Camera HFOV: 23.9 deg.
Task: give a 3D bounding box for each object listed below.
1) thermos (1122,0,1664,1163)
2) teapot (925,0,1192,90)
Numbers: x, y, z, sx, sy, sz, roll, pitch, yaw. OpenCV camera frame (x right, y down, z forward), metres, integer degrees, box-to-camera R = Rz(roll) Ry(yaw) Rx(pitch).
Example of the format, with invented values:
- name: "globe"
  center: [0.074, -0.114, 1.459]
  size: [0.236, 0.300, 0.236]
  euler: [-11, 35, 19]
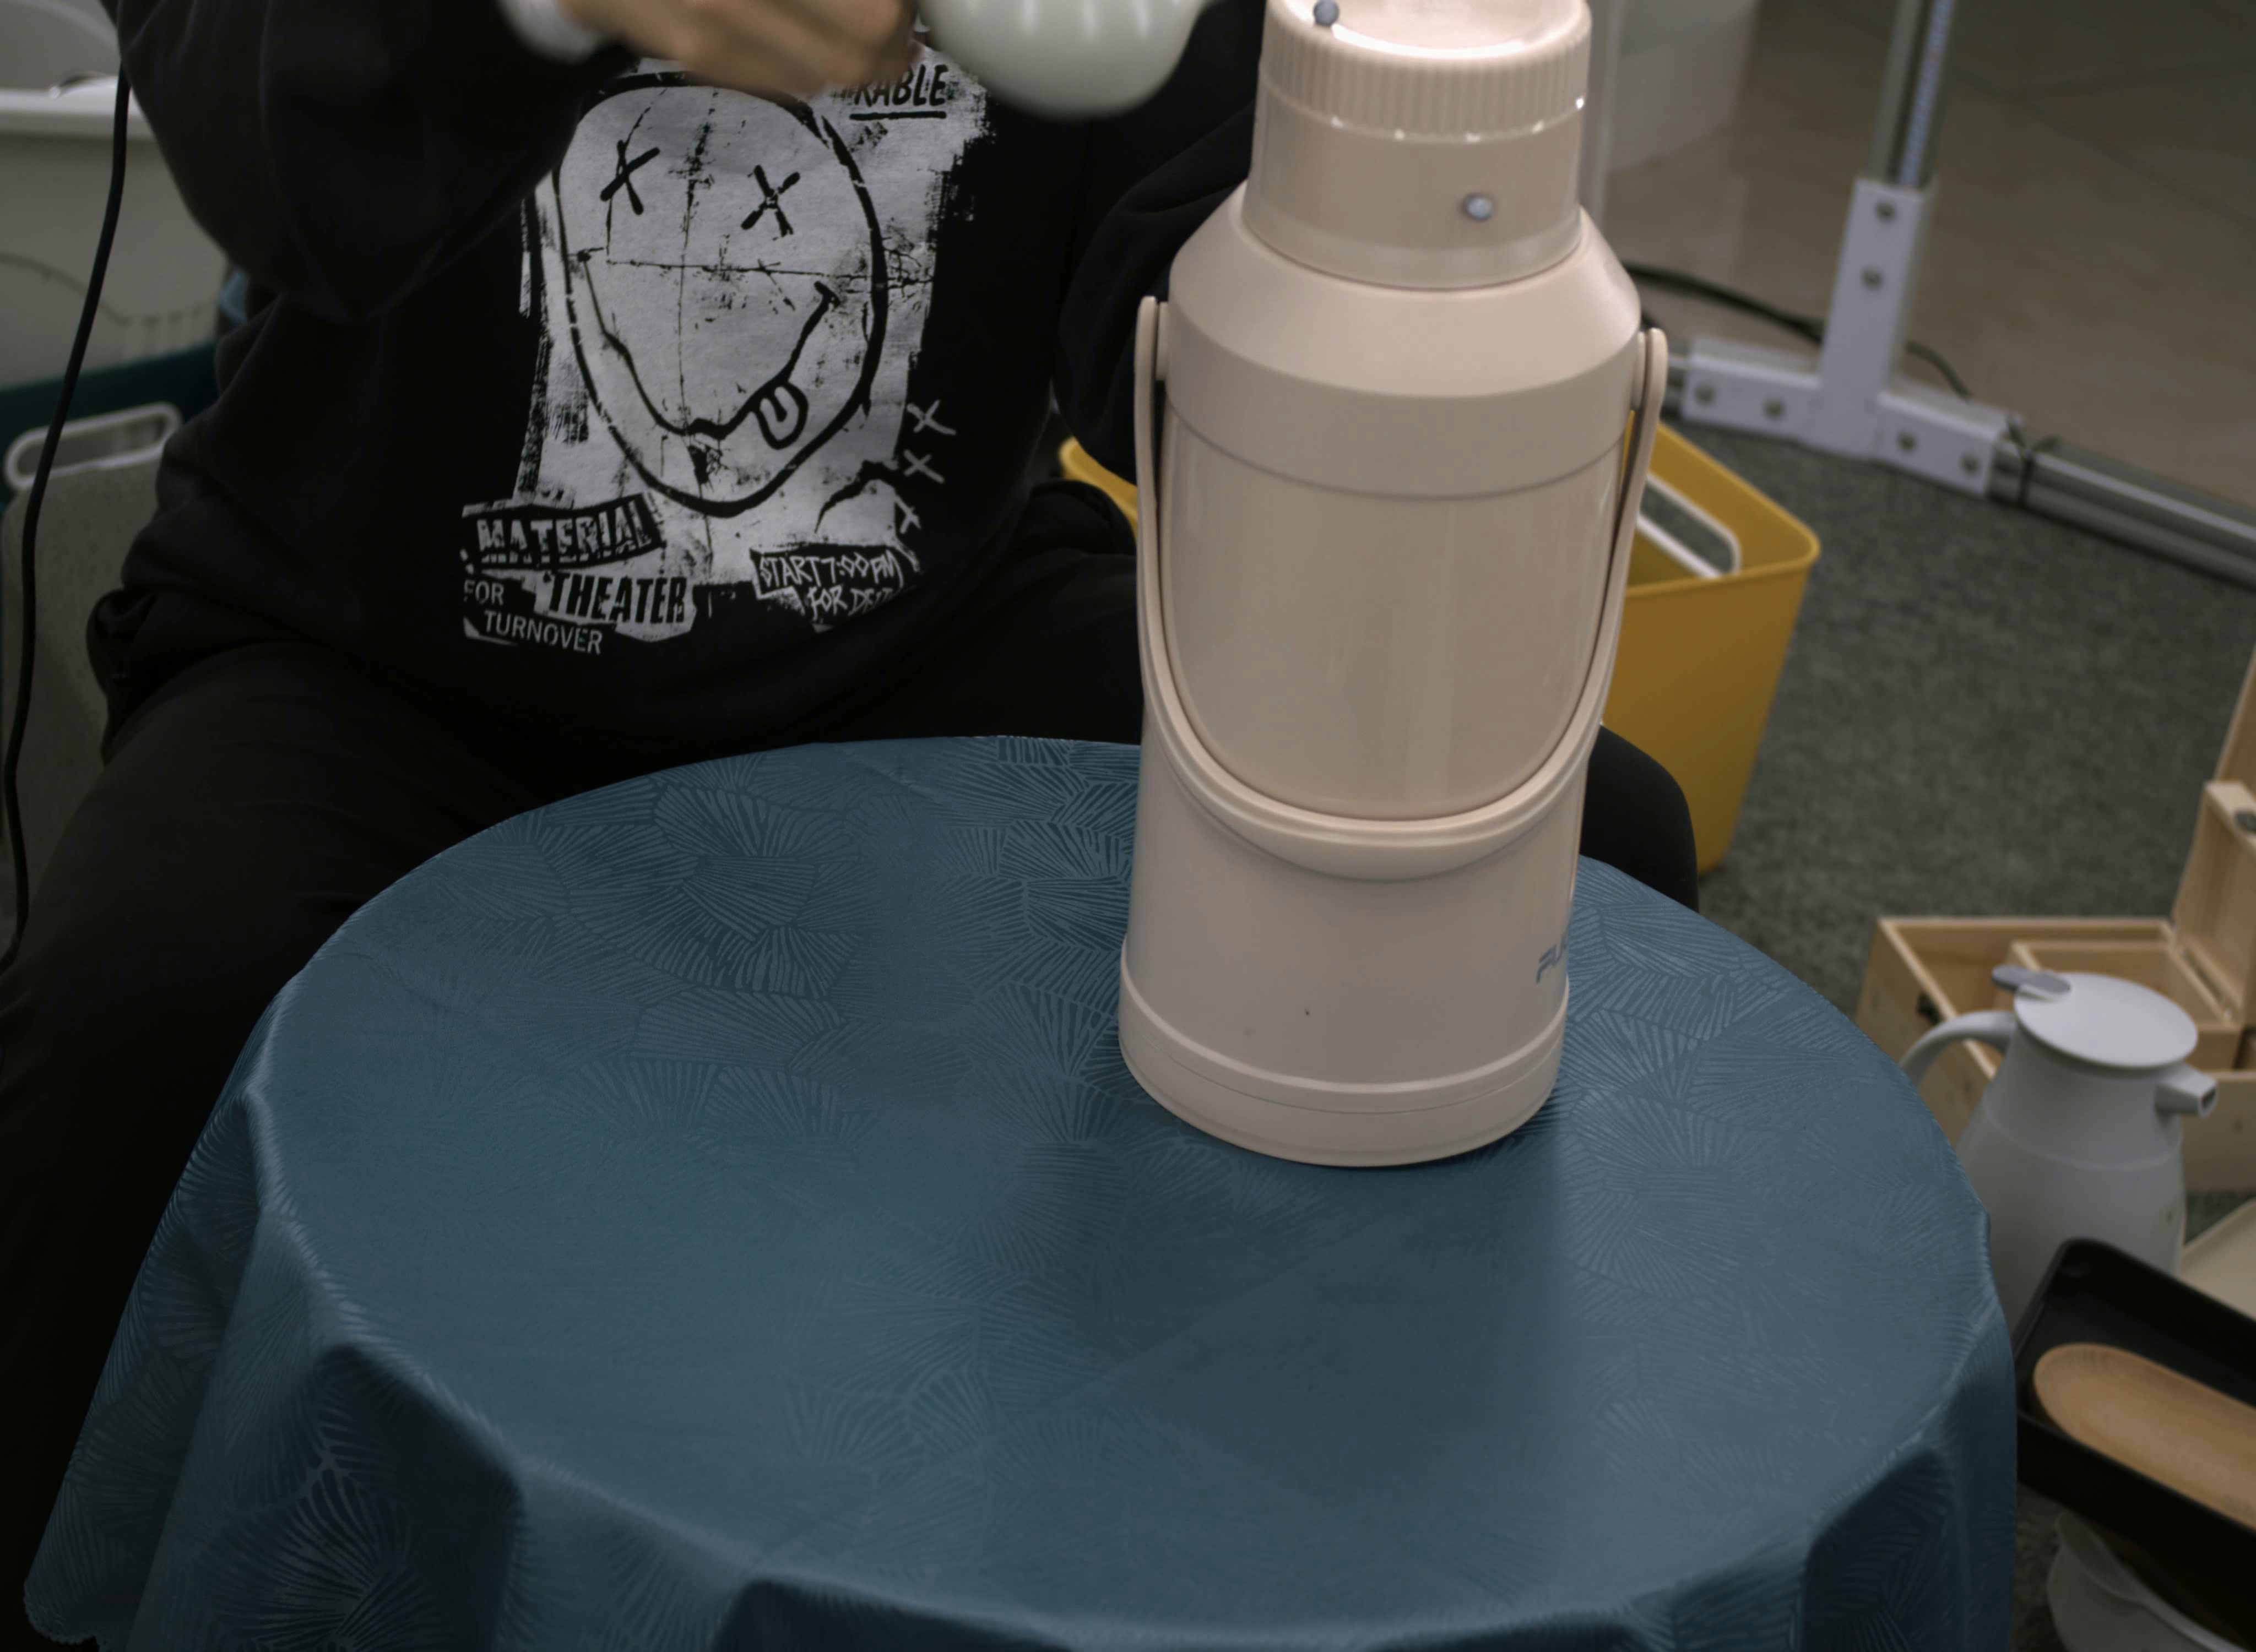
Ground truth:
- name: "thermos"
  center: [0.087, -0.100, 1.816]
  size: [0.175, 0.404, 0.208]
  euler: [2, 30, 0]
- name: "teapot"
  center: [-0.033, -0.271, 1.660]
  size: [0.127, 0.059, 0.092]
  euler: [17, 25, -24]
